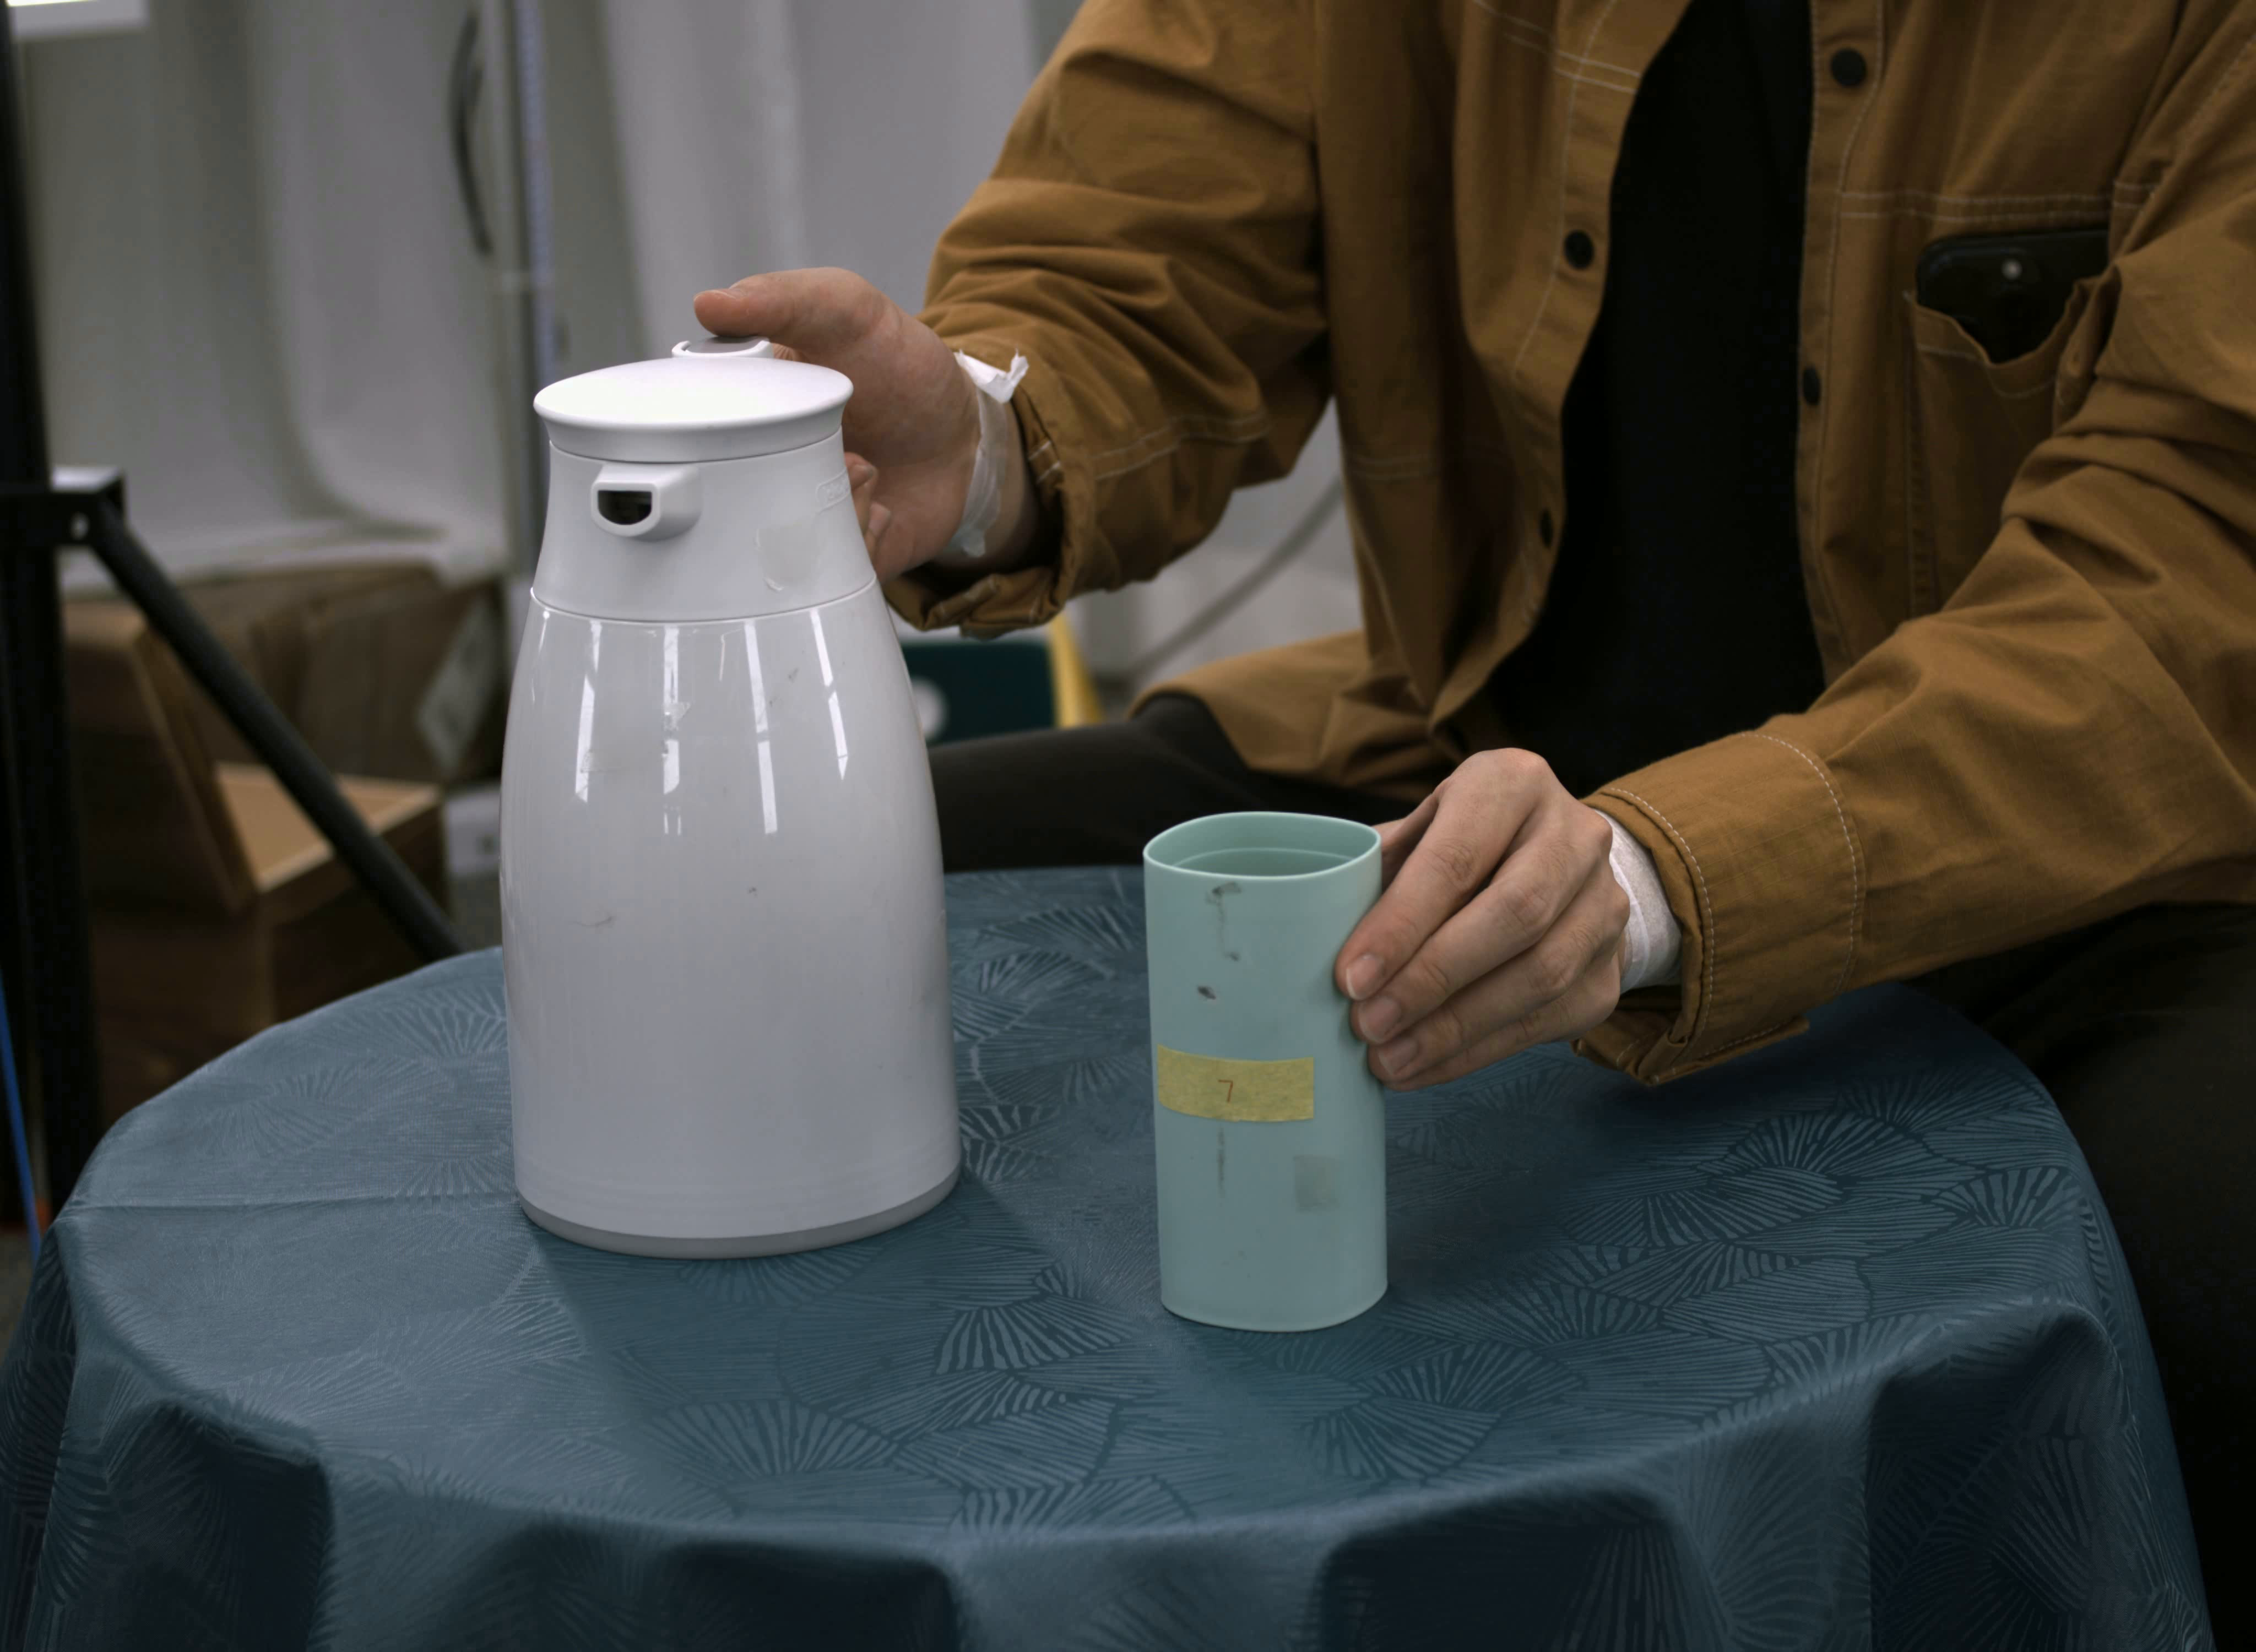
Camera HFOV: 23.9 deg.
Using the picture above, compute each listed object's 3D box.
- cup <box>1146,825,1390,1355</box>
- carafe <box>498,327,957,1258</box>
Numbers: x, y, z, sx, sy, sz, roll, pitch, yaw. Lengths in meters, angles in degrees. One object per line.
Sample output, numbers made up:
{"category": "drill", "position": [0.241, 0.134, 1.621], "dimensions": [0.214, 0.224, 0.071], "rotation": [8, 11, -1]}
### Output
{"category": "cup", "position": [0.040, 0.071, 1.452], "dimensions": [0.066, 0.132, 0.067], "rotation": [-2, 15, -1]}
{"category": "carafe", "position": [-0.116, -0.018, 1.567], "dimensions": [0.133, 0.248, 0.166], "rotation": [2, 15, 14]}
